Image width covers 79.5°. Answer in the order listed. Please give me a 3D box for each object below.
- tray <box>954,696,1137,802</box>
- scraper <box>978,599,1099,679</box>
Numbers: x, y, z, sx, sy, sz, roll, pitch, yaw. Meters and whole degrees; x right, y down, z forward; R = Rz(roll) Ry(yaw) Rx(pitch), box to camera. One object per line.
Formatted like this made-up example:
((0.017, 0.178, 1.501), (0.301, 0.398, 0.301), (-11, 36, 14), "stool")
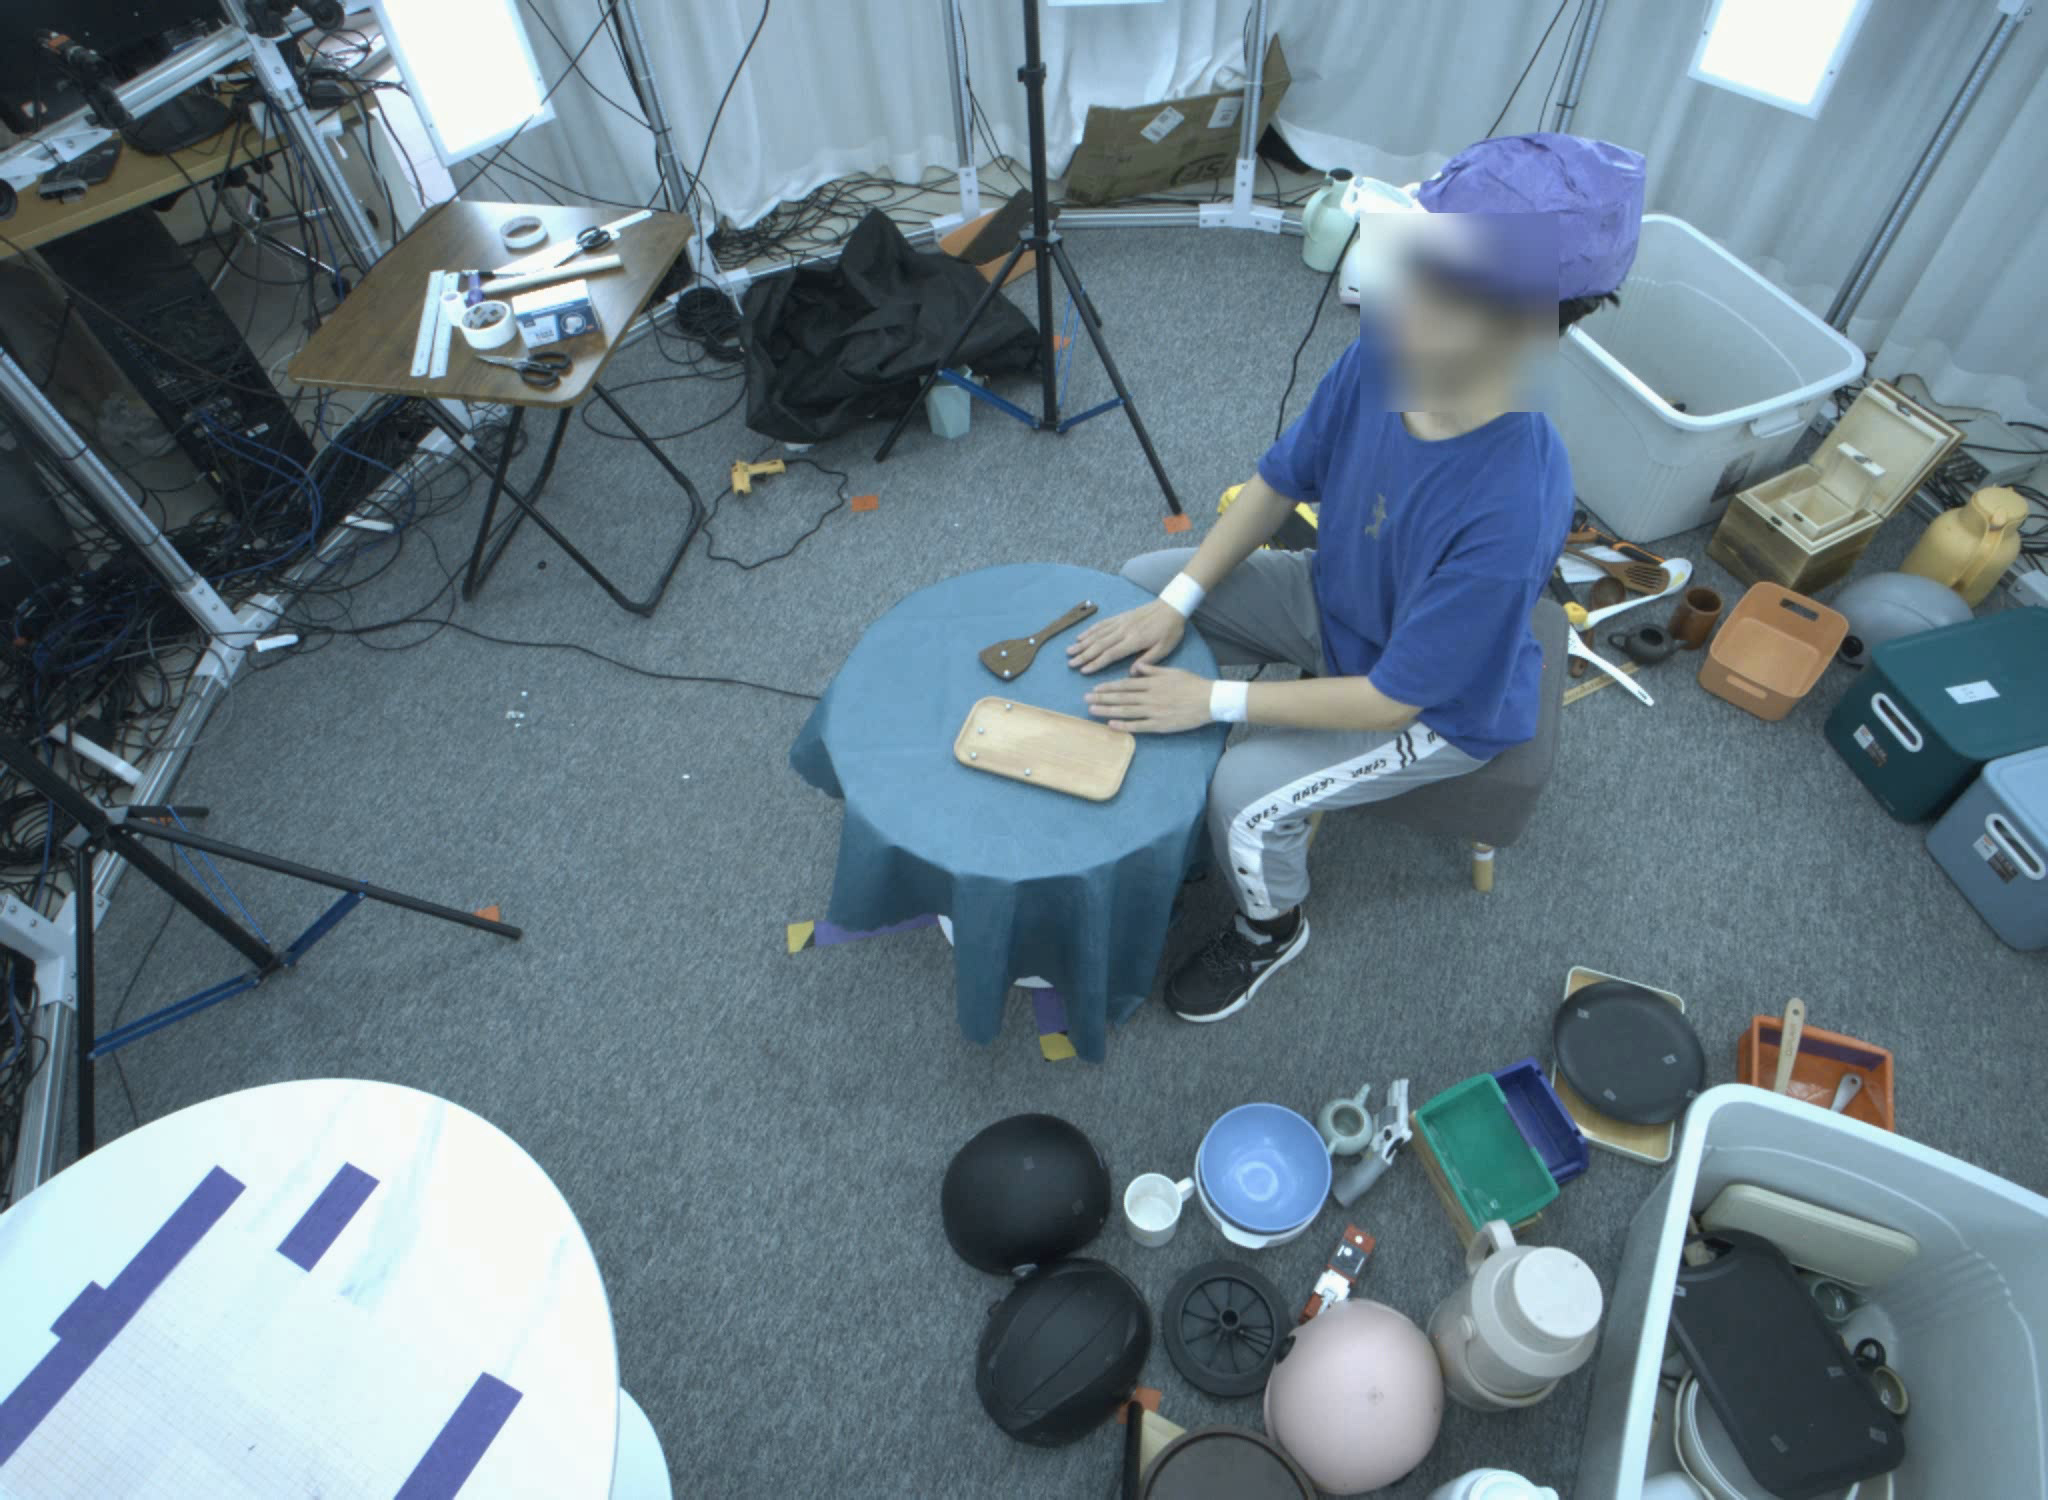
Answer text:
((0.031, -0.002, 1.768), (0.248, 0.023, 0.130), (16, 59, 13), "tray")
((0.029, -0.177, 1.899), (0.213, 0.011, 0.074), (-34, 60, -21), "scraper")
